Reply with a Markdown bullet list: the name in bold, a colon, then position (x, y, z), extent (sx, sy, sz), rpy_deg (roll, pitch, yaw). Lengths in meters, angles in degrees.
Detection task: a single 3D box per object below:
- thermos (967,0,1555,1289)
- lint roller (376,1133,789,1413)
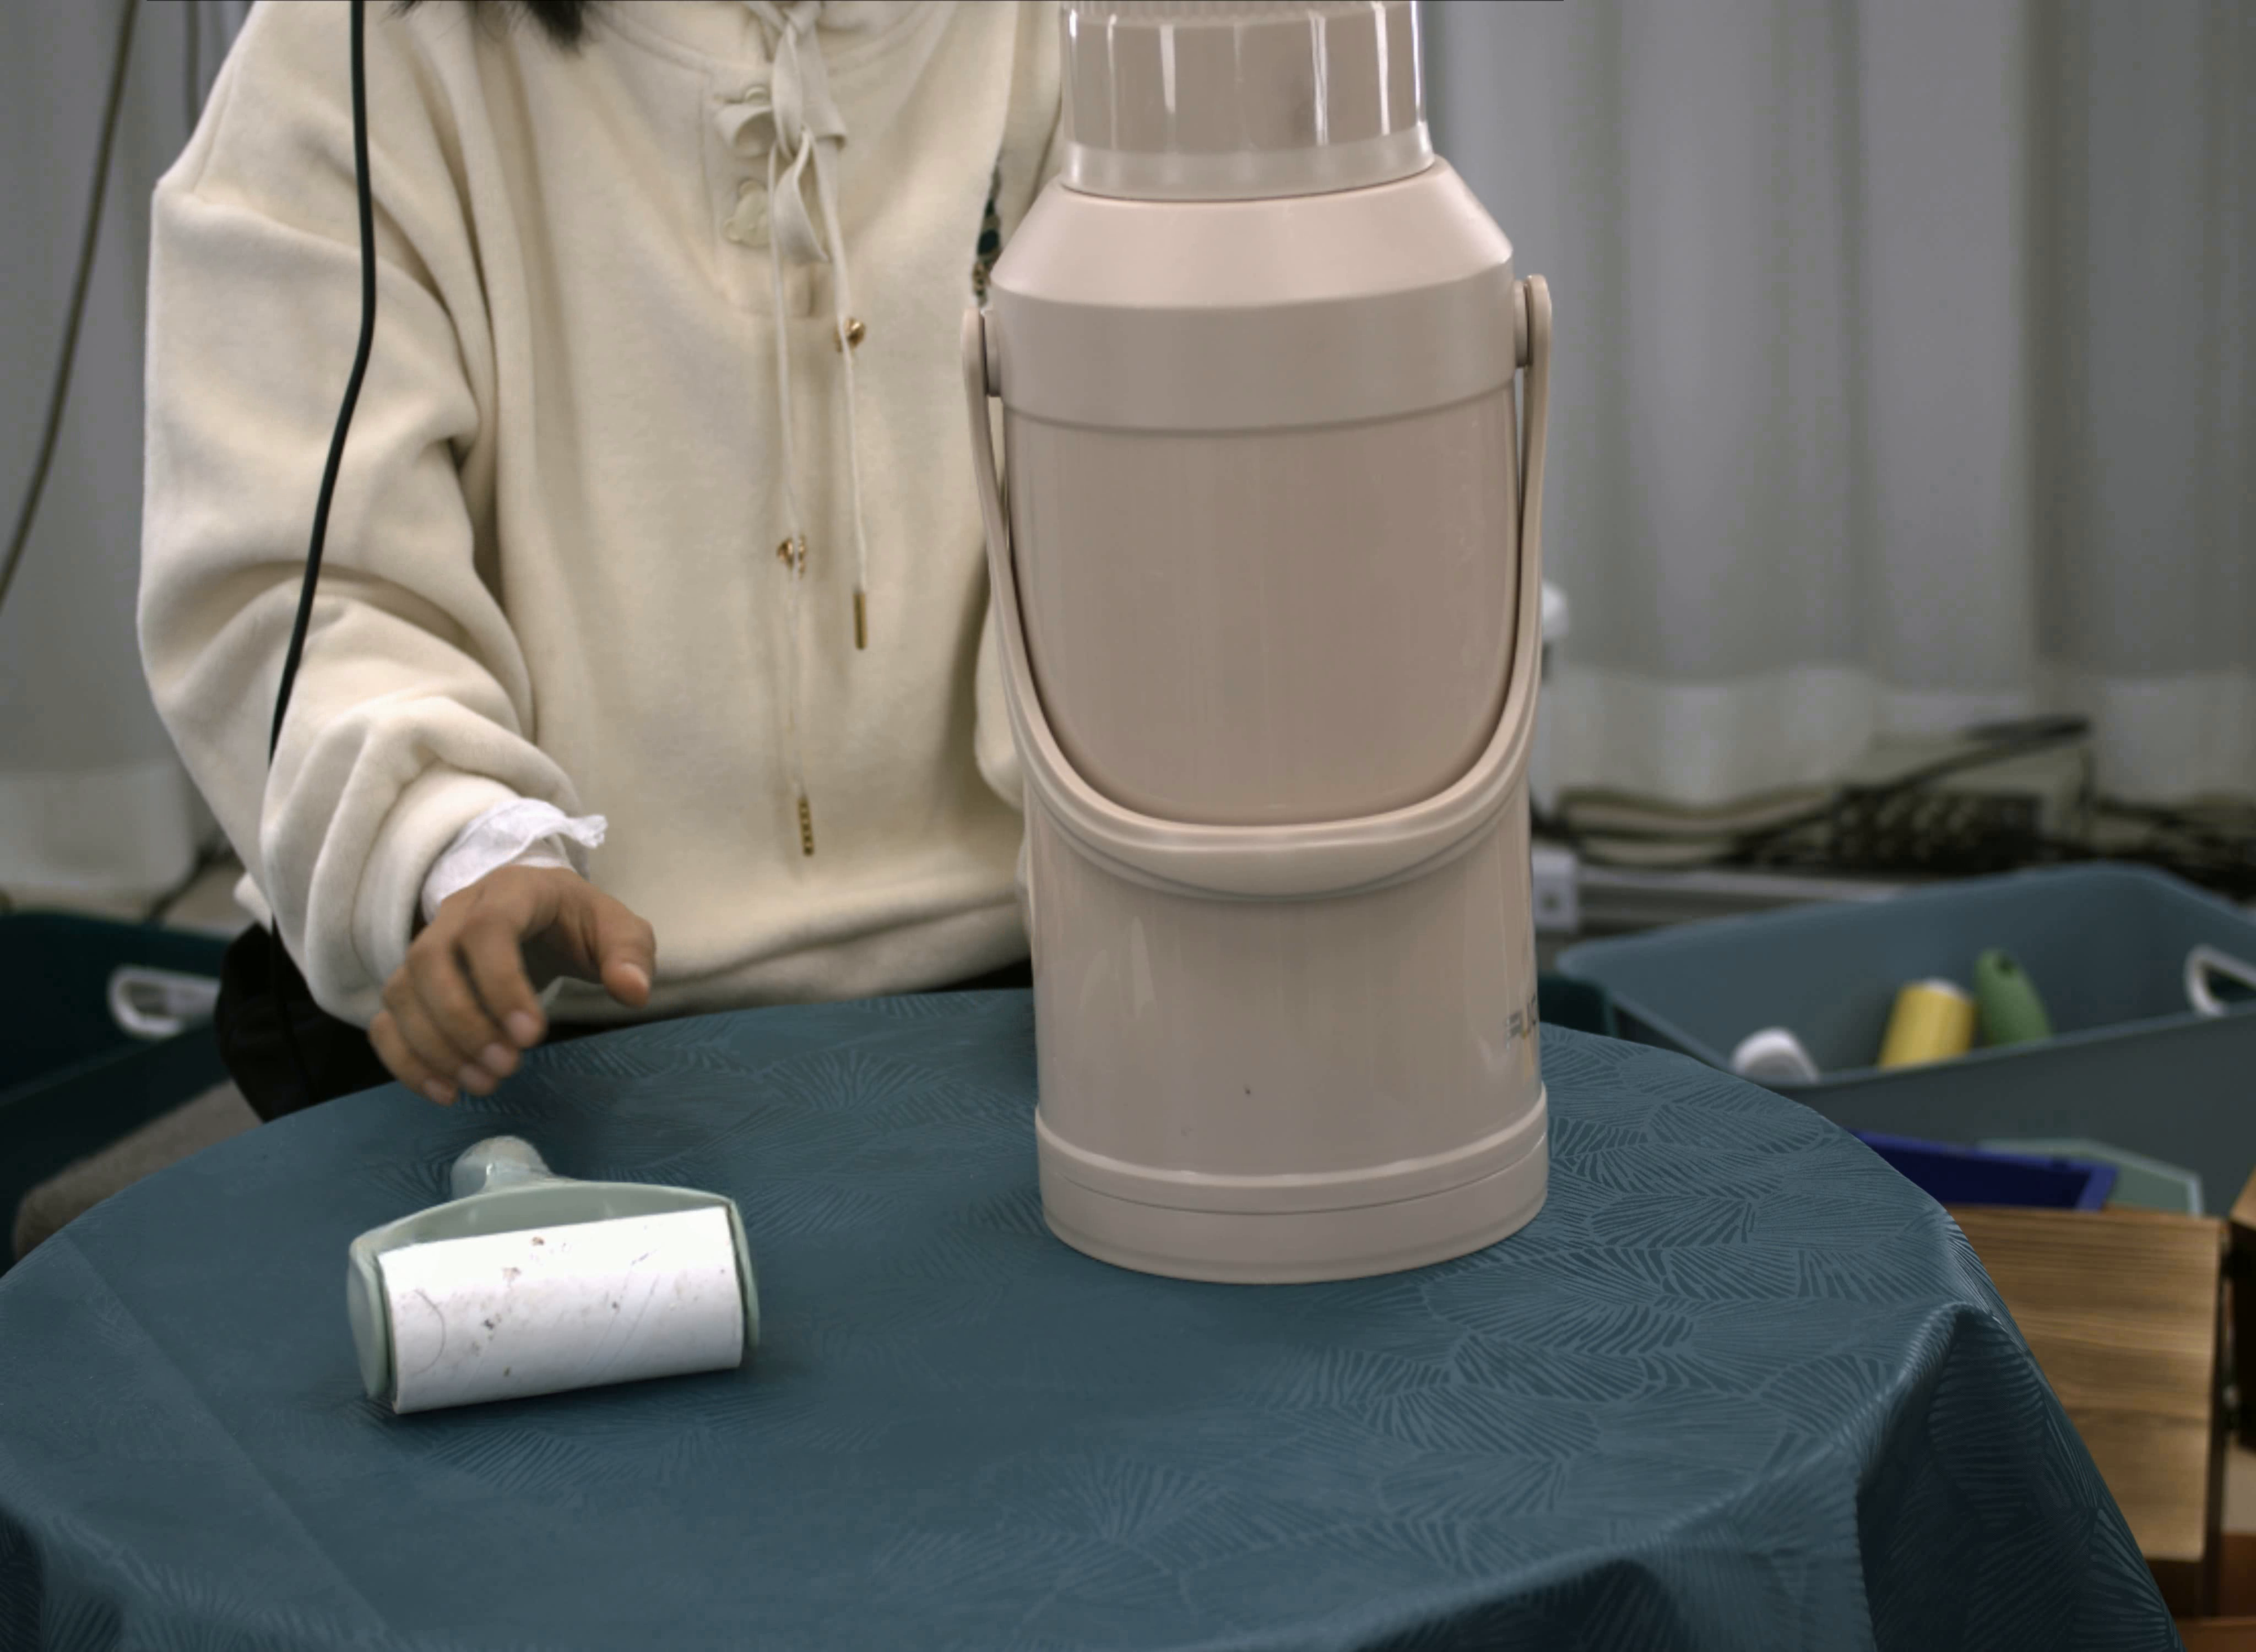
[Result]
- **thermos**: position (0.043, -0.078, 1.665), extent (0.175, 0.405, 0.208), rpy_deg (-3, 13, 0)
- **lint roller**: position (-0.172, 0.120, 1.637), extent (0.116, 0.048, 0.199), rpy_deg (-8, 16, -12)
